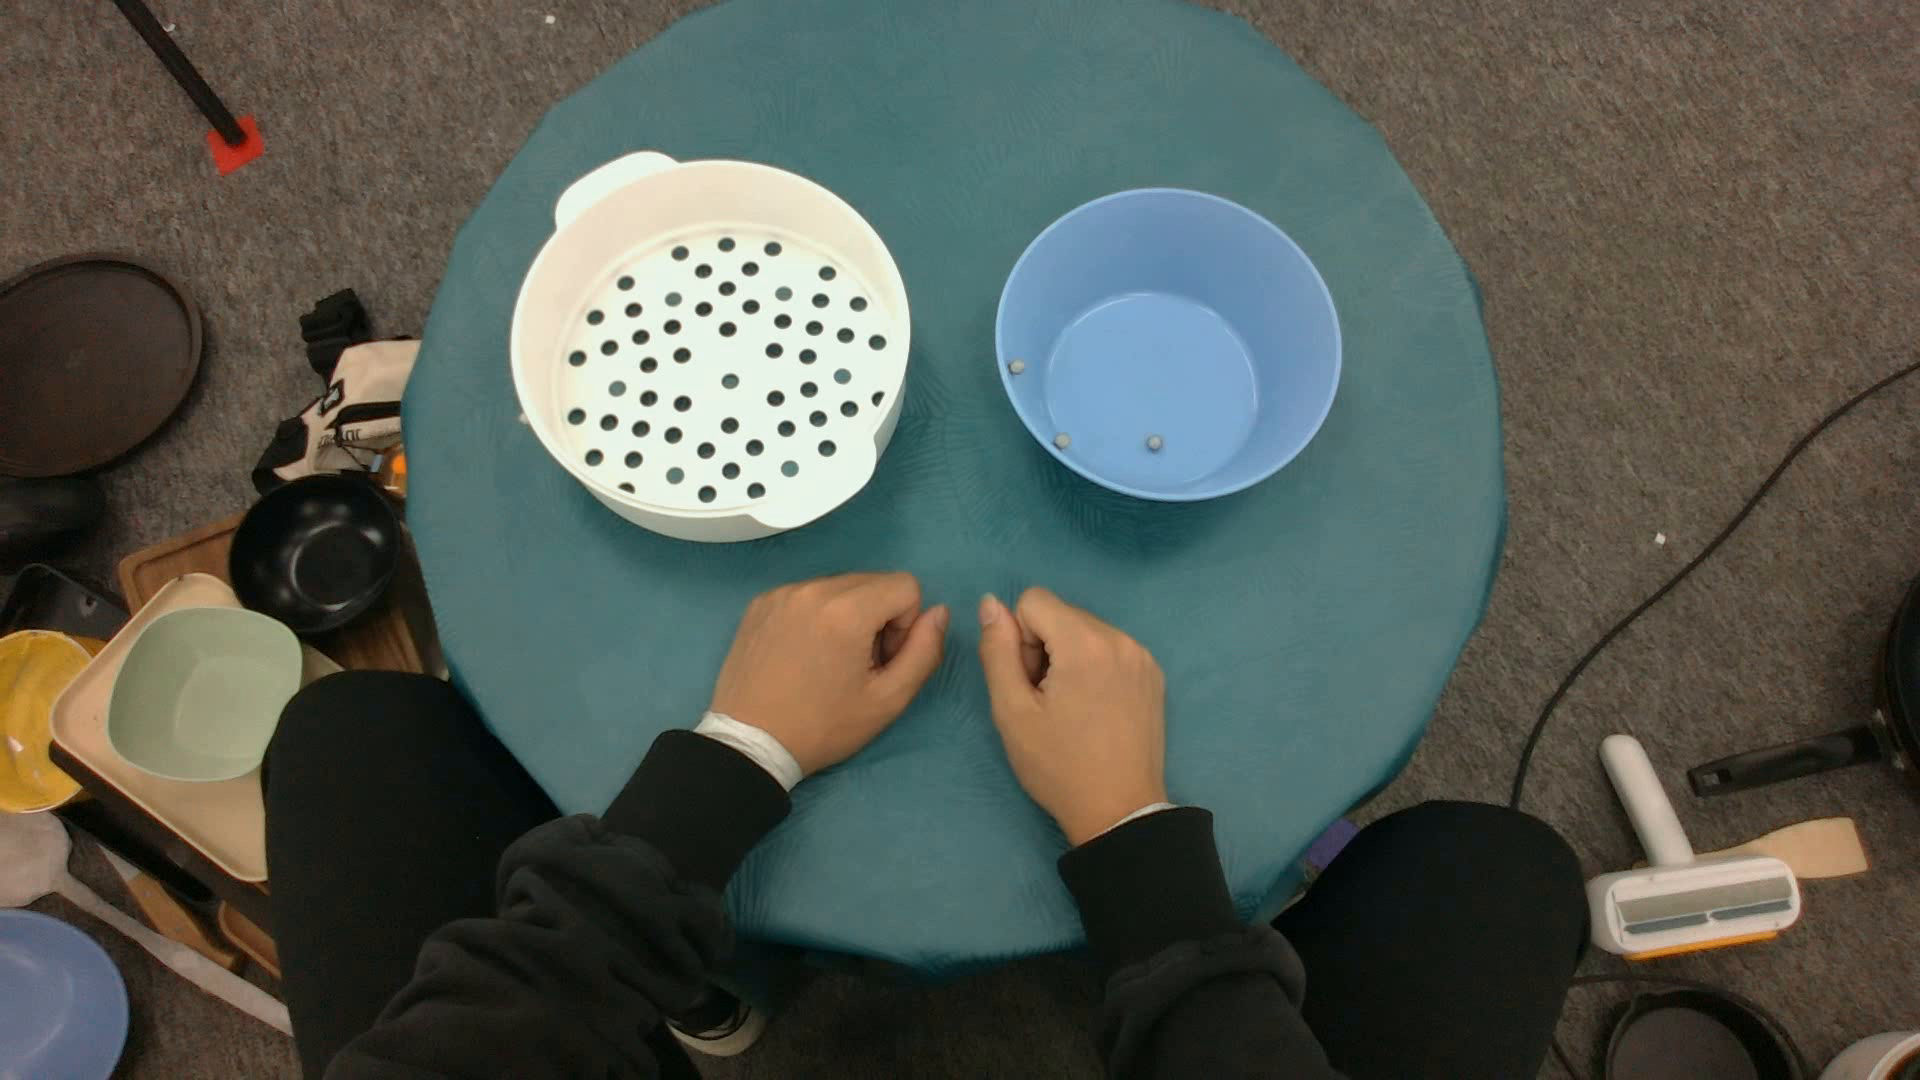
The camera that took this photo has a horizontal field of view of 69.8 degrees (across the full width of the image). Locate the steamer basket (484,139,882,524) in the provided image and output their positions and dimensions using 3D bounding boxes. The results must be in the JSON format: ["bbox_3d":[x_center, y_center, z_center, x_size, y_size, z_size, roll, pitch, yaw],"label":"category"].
[{"bbox_3d":[-0.141,-0.107,0.725,0.202,0.069,0.231,-33,73,-12],"label":"steamer basket"}]

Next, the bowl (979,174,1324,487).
[{"bbox_3d":[0.097,-0.100,0.730,0.176,0.070,0.176,0,71,-1],"label":"bowl"}]
